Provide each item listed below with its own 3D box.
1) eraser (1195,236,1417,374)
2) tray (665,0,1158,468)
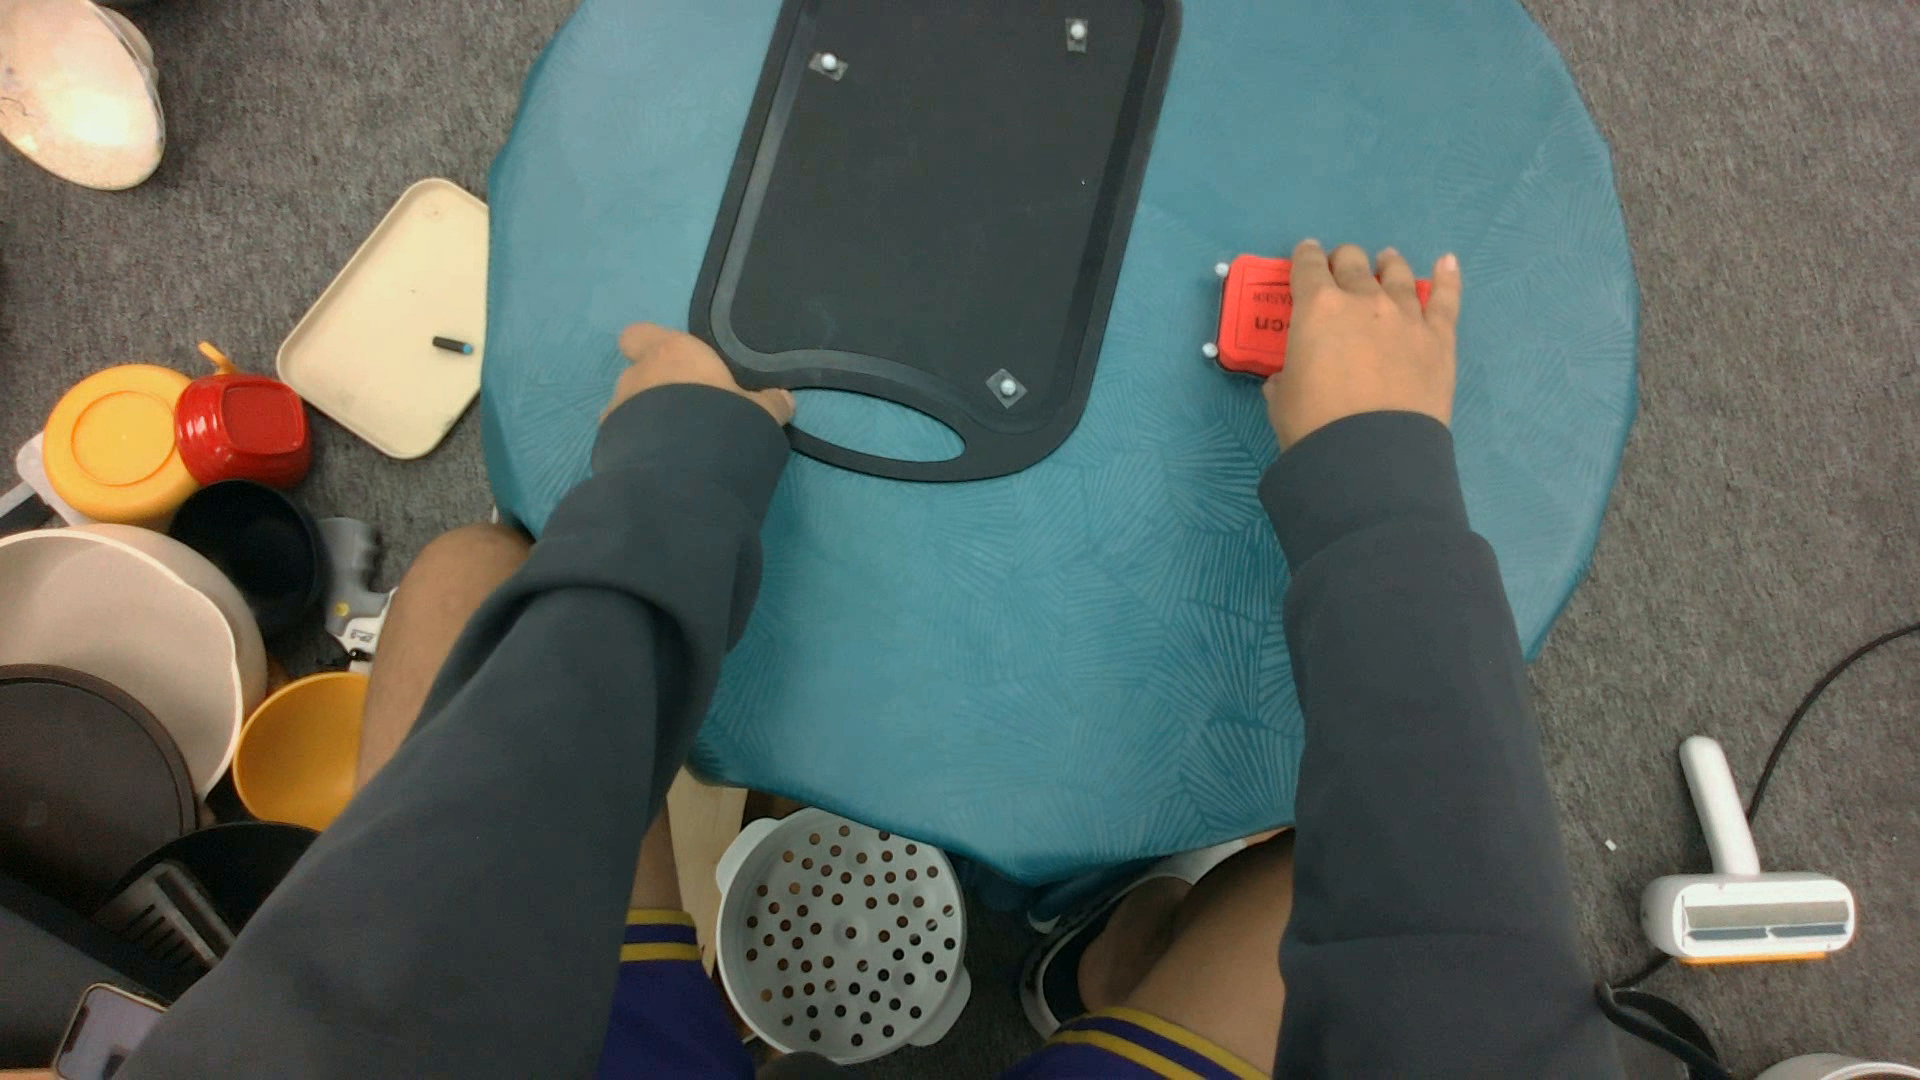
[{"bbox_3d":[0.177,-0.120,0.704,0.108,0.023,0.059,7,78,-1],"label":"eraser"},{"bbox_3d":[-0.023,-0.196,0.719,0.211,0.010,0.326,14,79,0],"label":"tray"}]
